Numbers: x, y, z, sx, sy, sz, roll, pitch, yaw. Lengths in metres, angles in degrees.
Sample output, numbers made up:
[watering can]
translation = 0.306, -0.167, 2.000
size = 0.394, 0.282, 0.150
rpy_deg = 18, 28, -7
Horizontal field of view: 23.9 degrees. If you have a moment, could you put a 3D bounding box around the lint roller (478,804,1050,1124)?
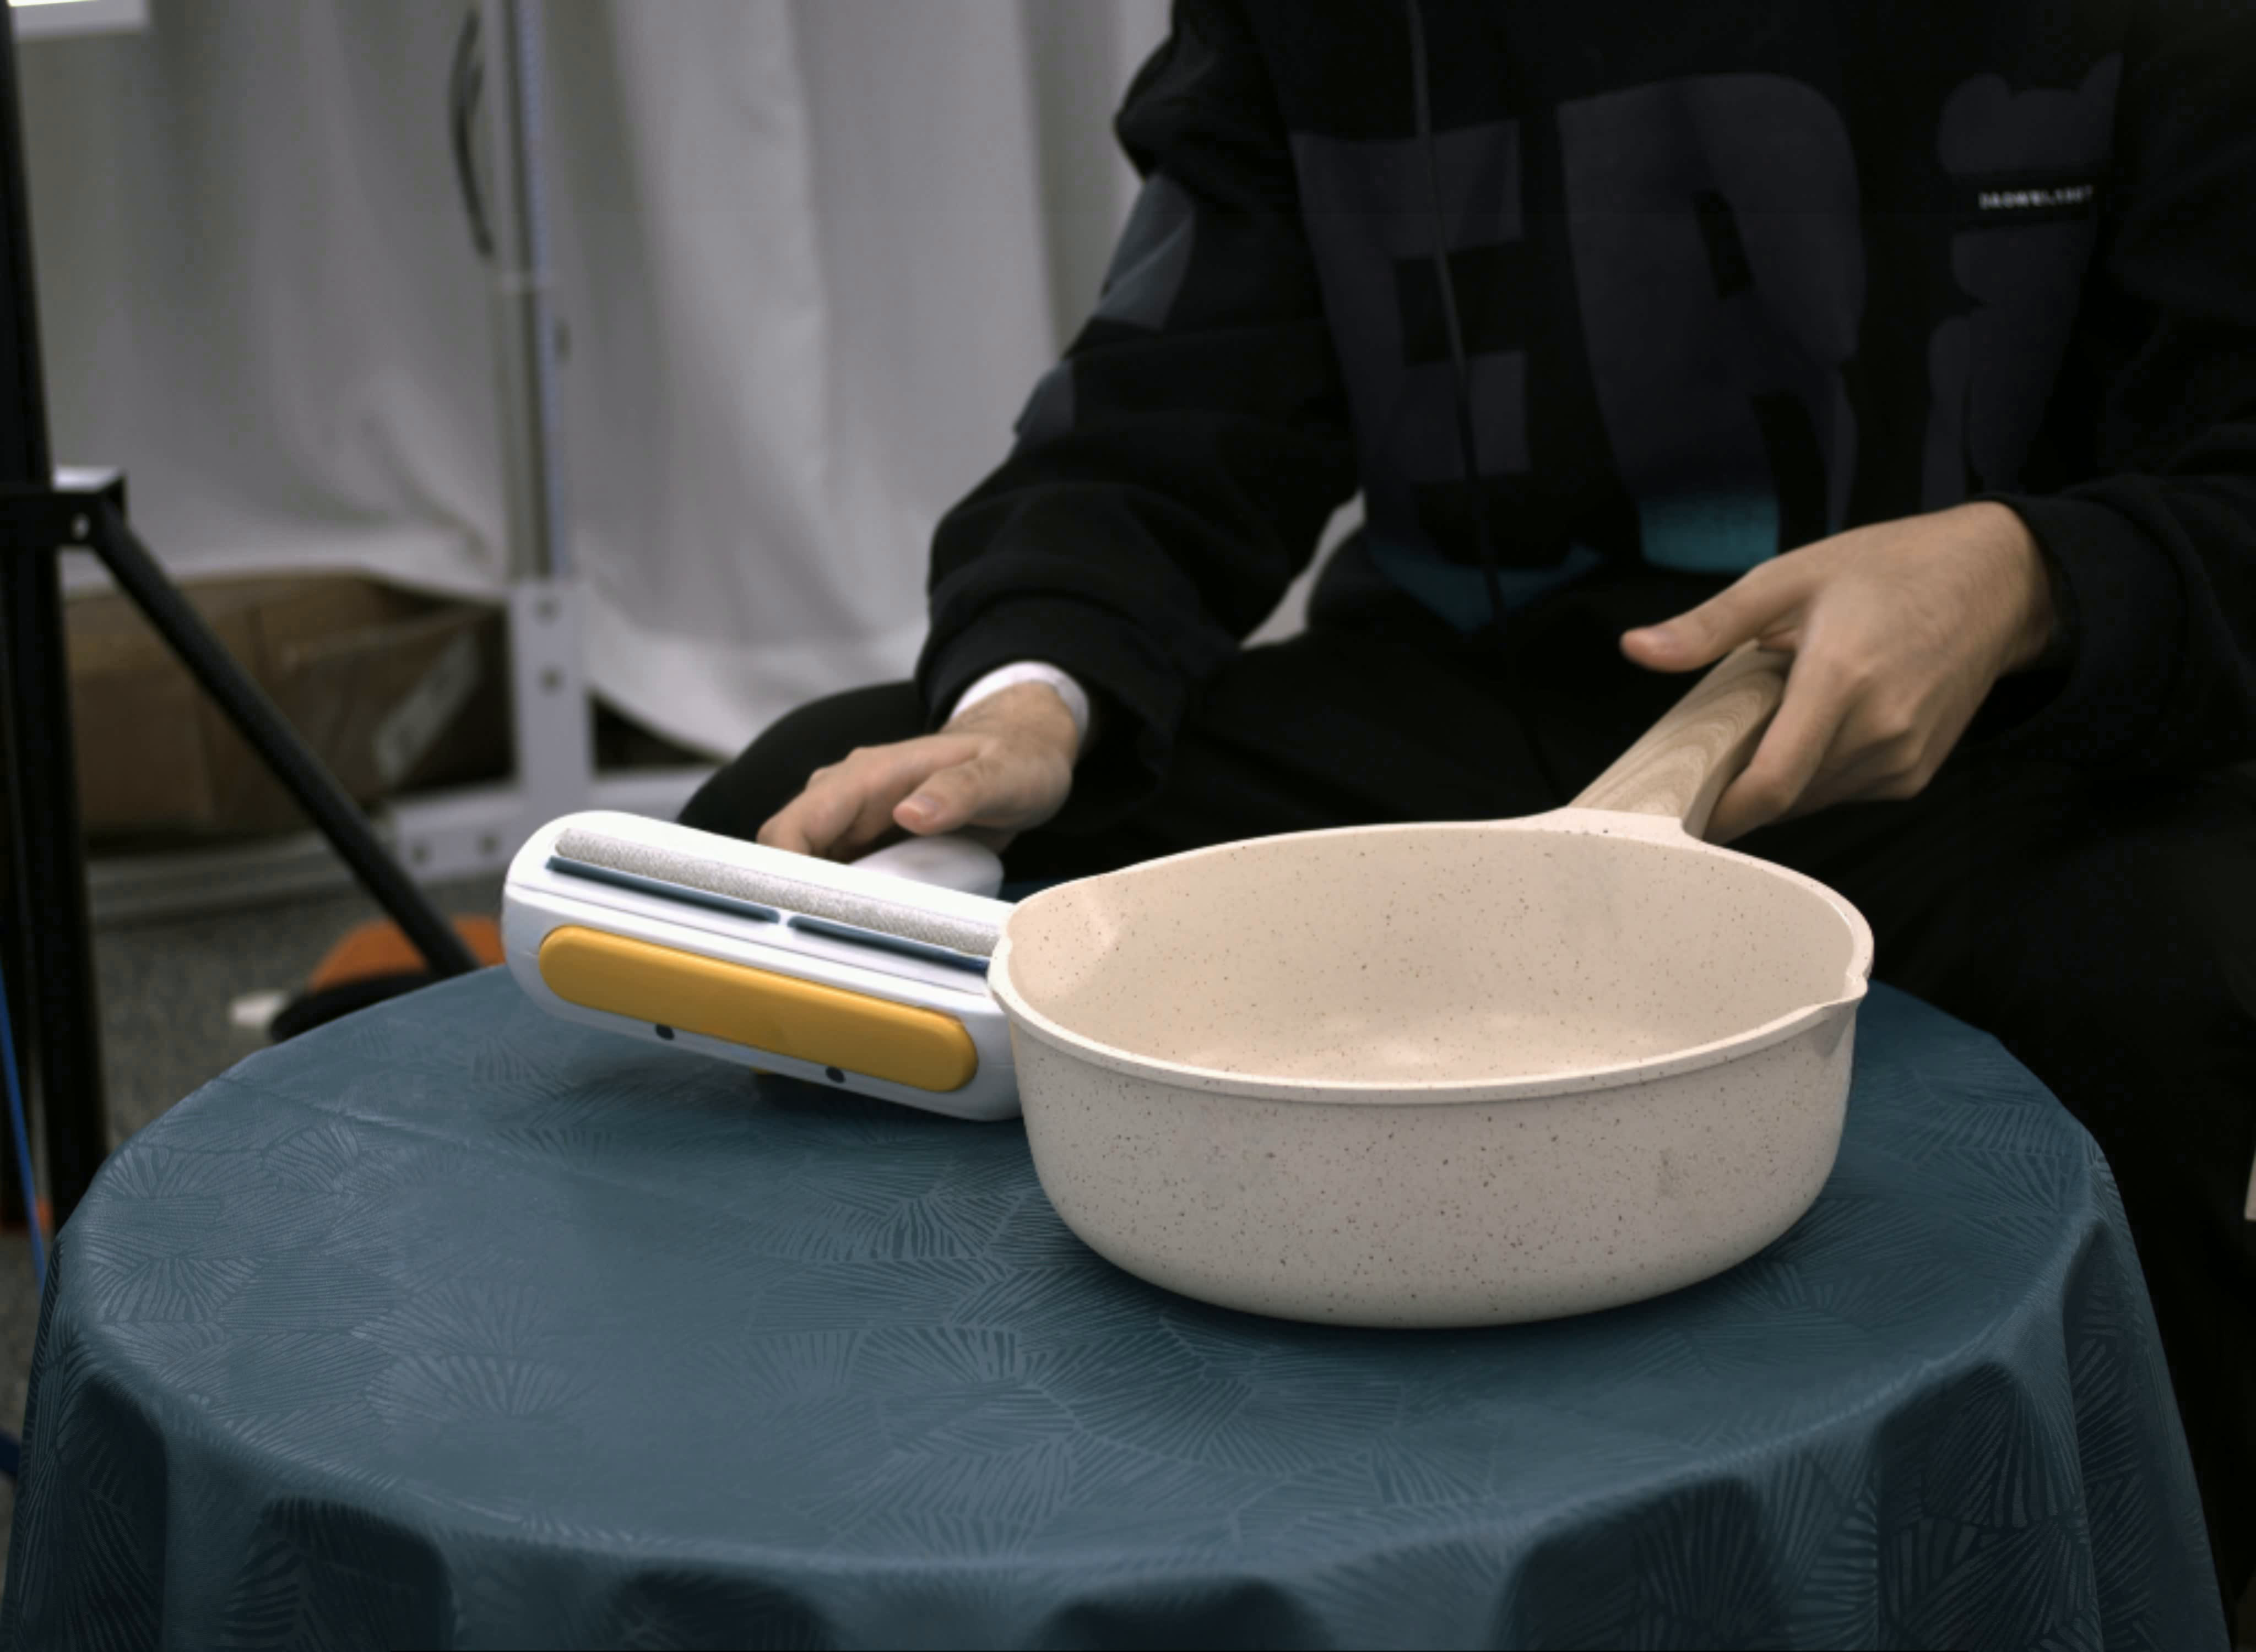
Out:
[lint roller]
translation = -0.088, 0.028, 1.709
size = 0.195, 0.074, 0.190
rpy_deg = 10, 25, 22

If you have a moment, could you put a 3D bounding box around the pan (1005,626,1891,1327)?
[pan]
translation = 0.132, 0.041, 1.588
size = 0.268, 0.102, 0.428
rpy_deg = 3, 17, 28
